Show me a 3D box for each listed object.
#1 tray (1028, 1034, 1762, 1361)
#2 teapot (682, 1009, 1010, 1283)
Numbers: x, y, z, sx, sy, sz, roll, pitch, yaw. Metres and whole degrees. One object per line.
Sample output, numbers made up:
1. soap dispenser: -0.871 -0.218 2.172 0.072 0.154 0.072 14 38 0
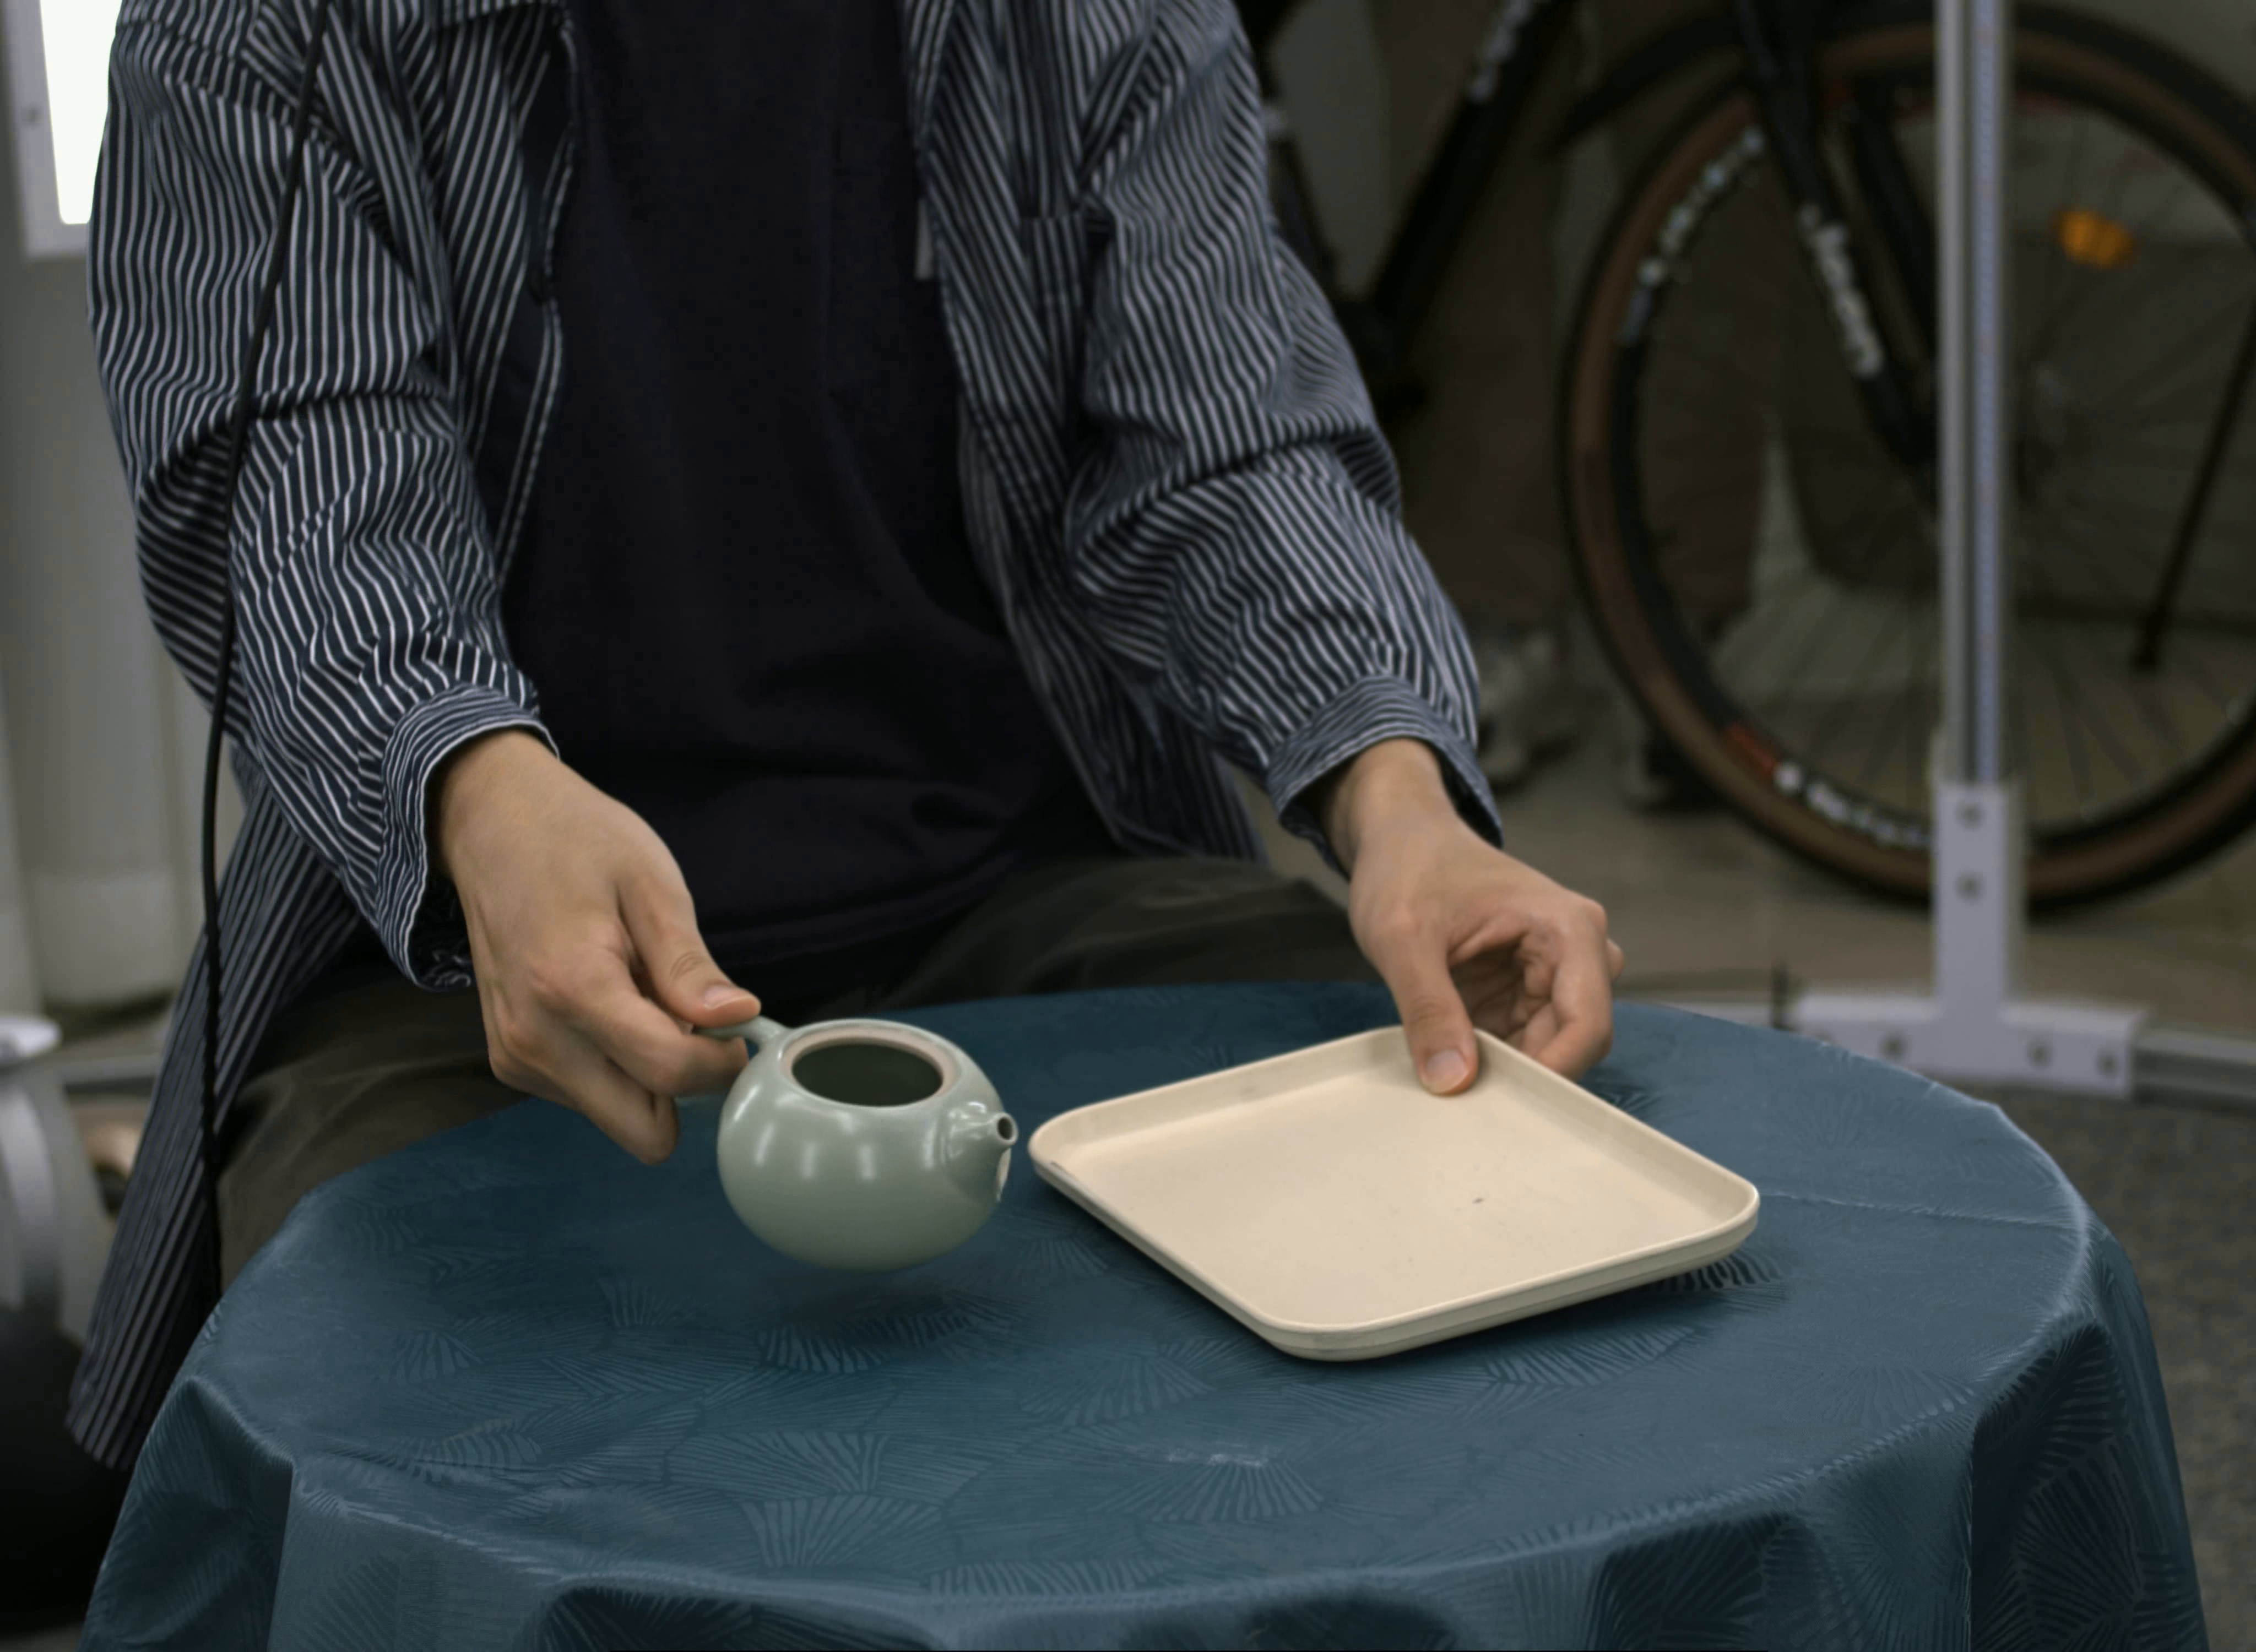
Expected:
1. tray: 0.081 0.116 1.706 0.168 0.017 0.242 -13 16 -20
2. teapot: -0.089 0.097 1.662 0.129 0.061 0.090 23 33 34
